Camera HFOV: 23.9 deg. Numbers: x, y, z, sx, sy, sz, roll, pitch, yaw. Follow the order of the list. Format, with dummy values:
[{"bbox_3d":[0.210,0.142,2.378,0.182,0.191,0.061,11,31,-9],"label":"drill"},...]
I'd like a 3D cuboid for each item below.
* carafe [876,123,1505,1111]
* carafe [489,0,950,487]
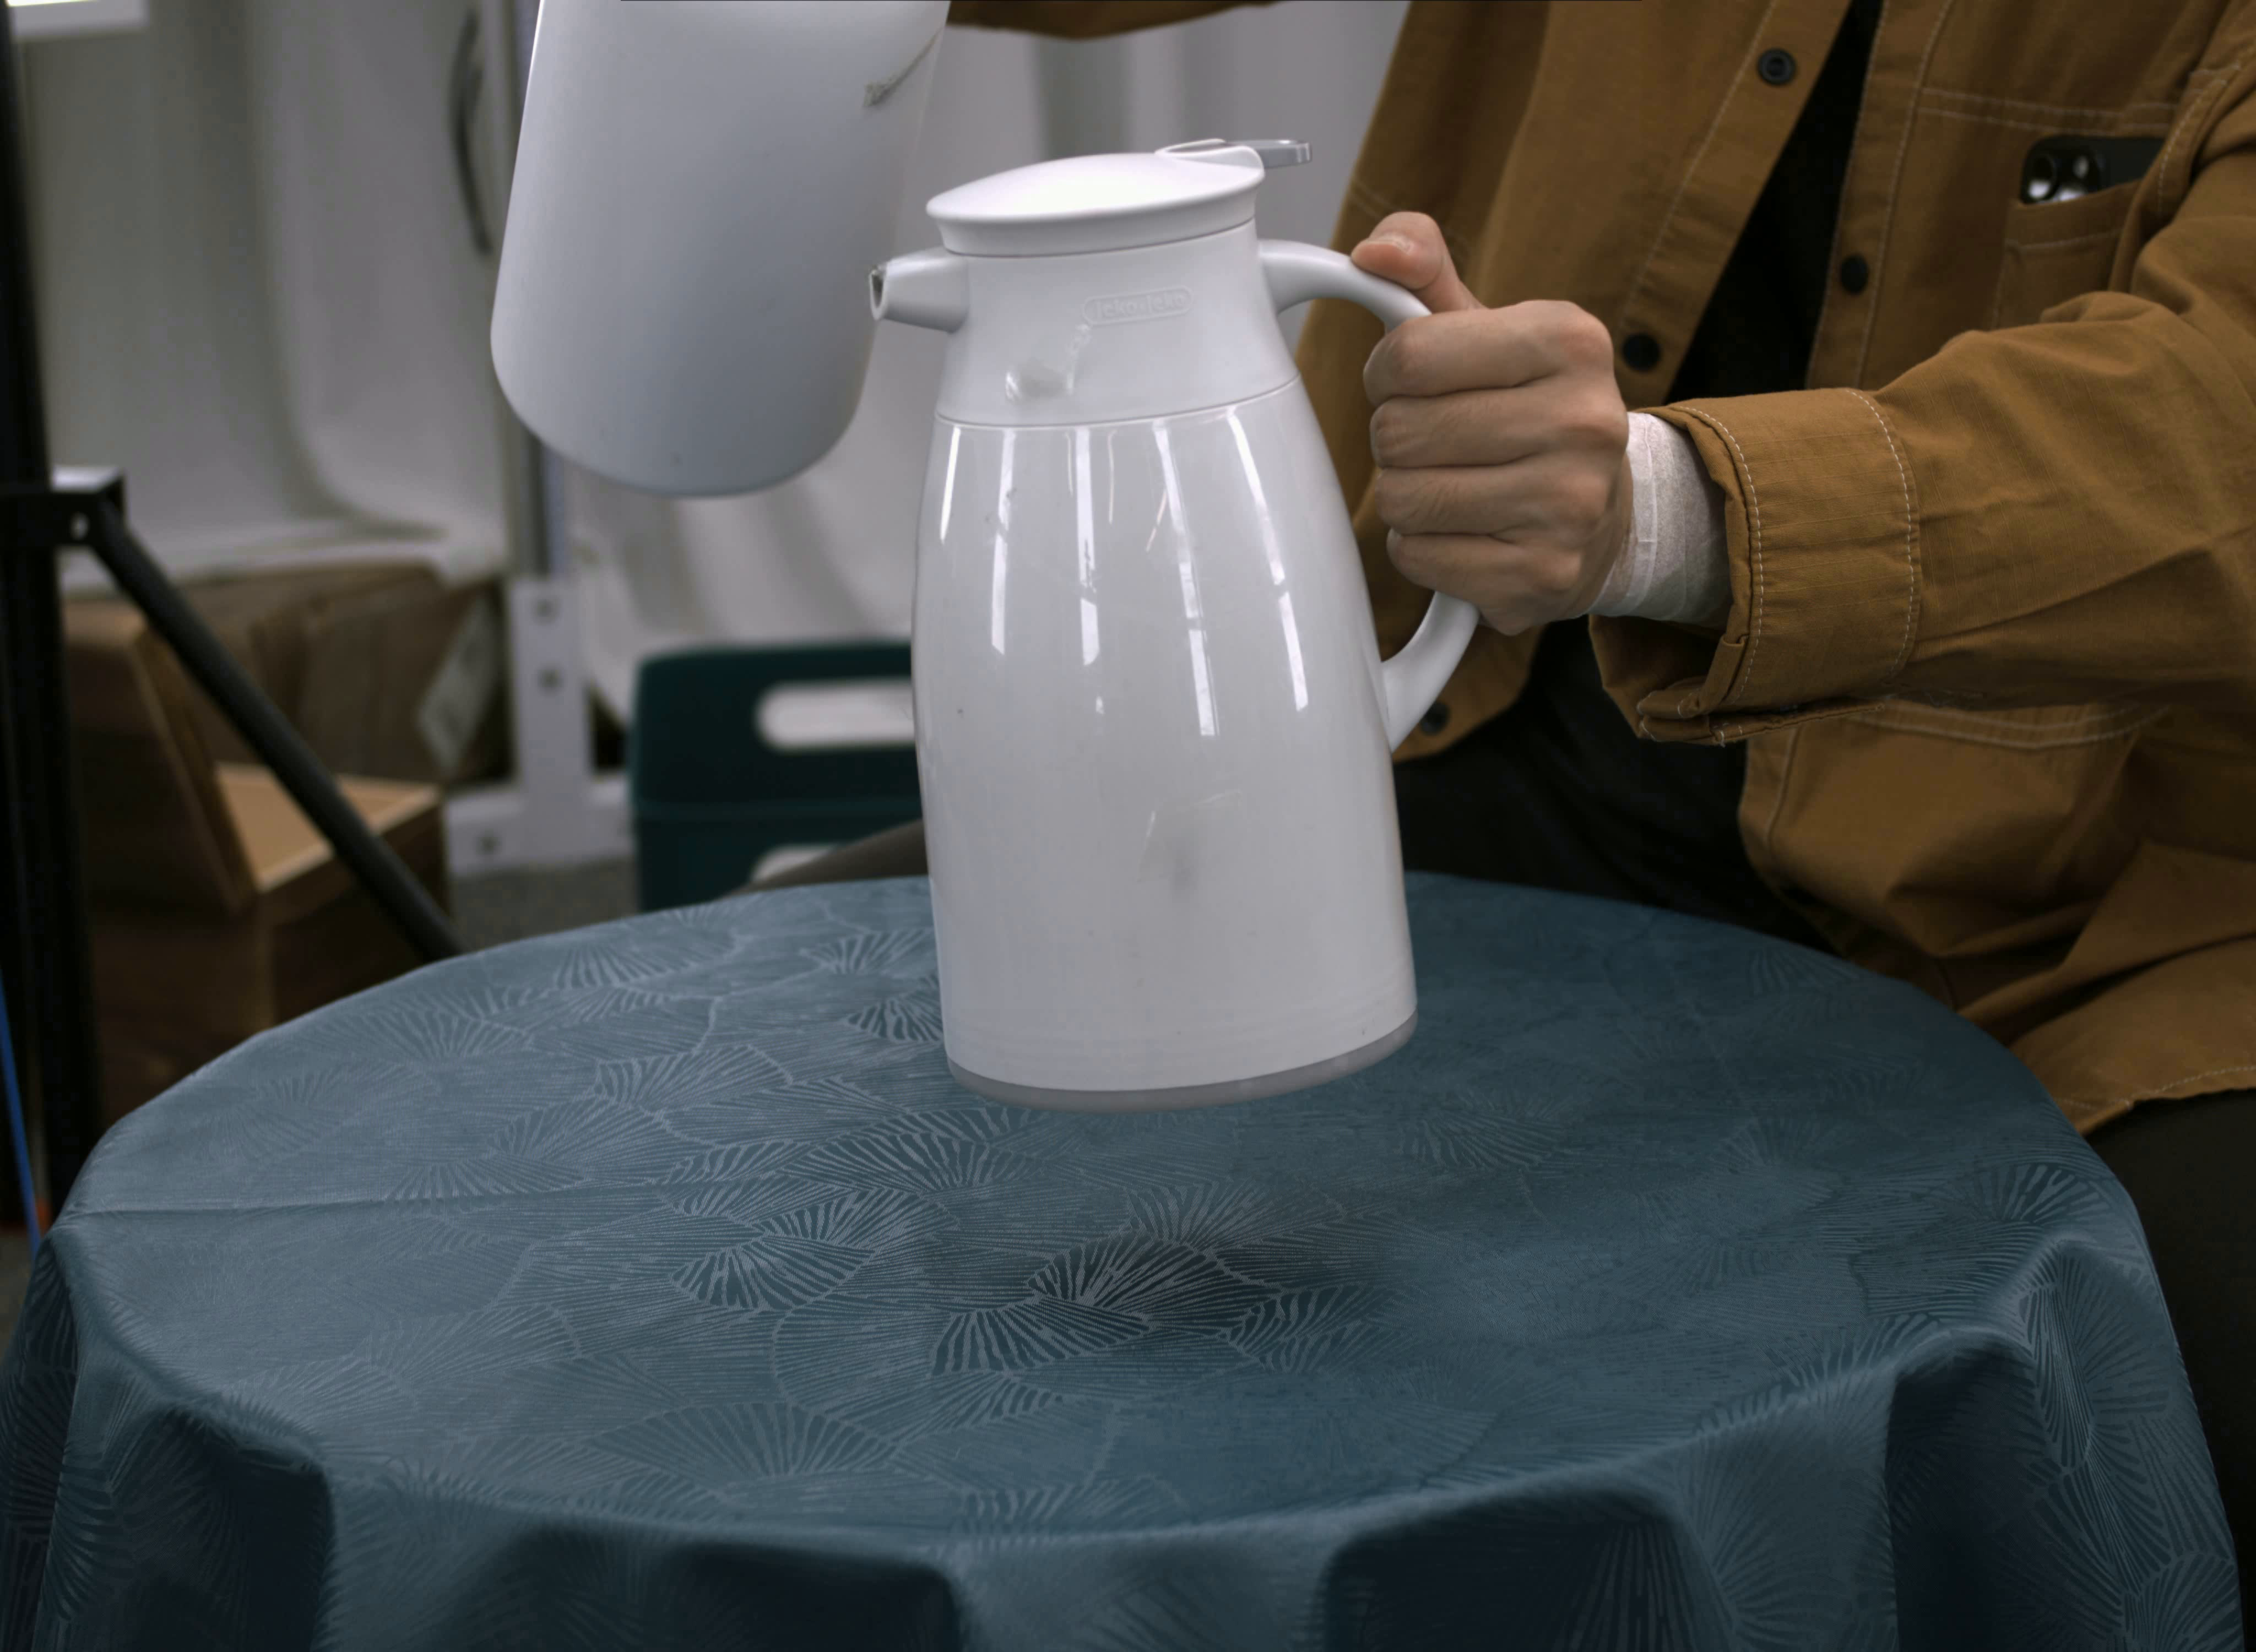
[{"bbox_3d":[0.022,-0.063,1.447,0.165,0.249,0.134,-7,13,-11],"label":"carafe"},{"bbox_3d":[-0.124,-0.241,1.584,0.121,0.269,0.176,-16,56,-24],"label":"carafe"}]
